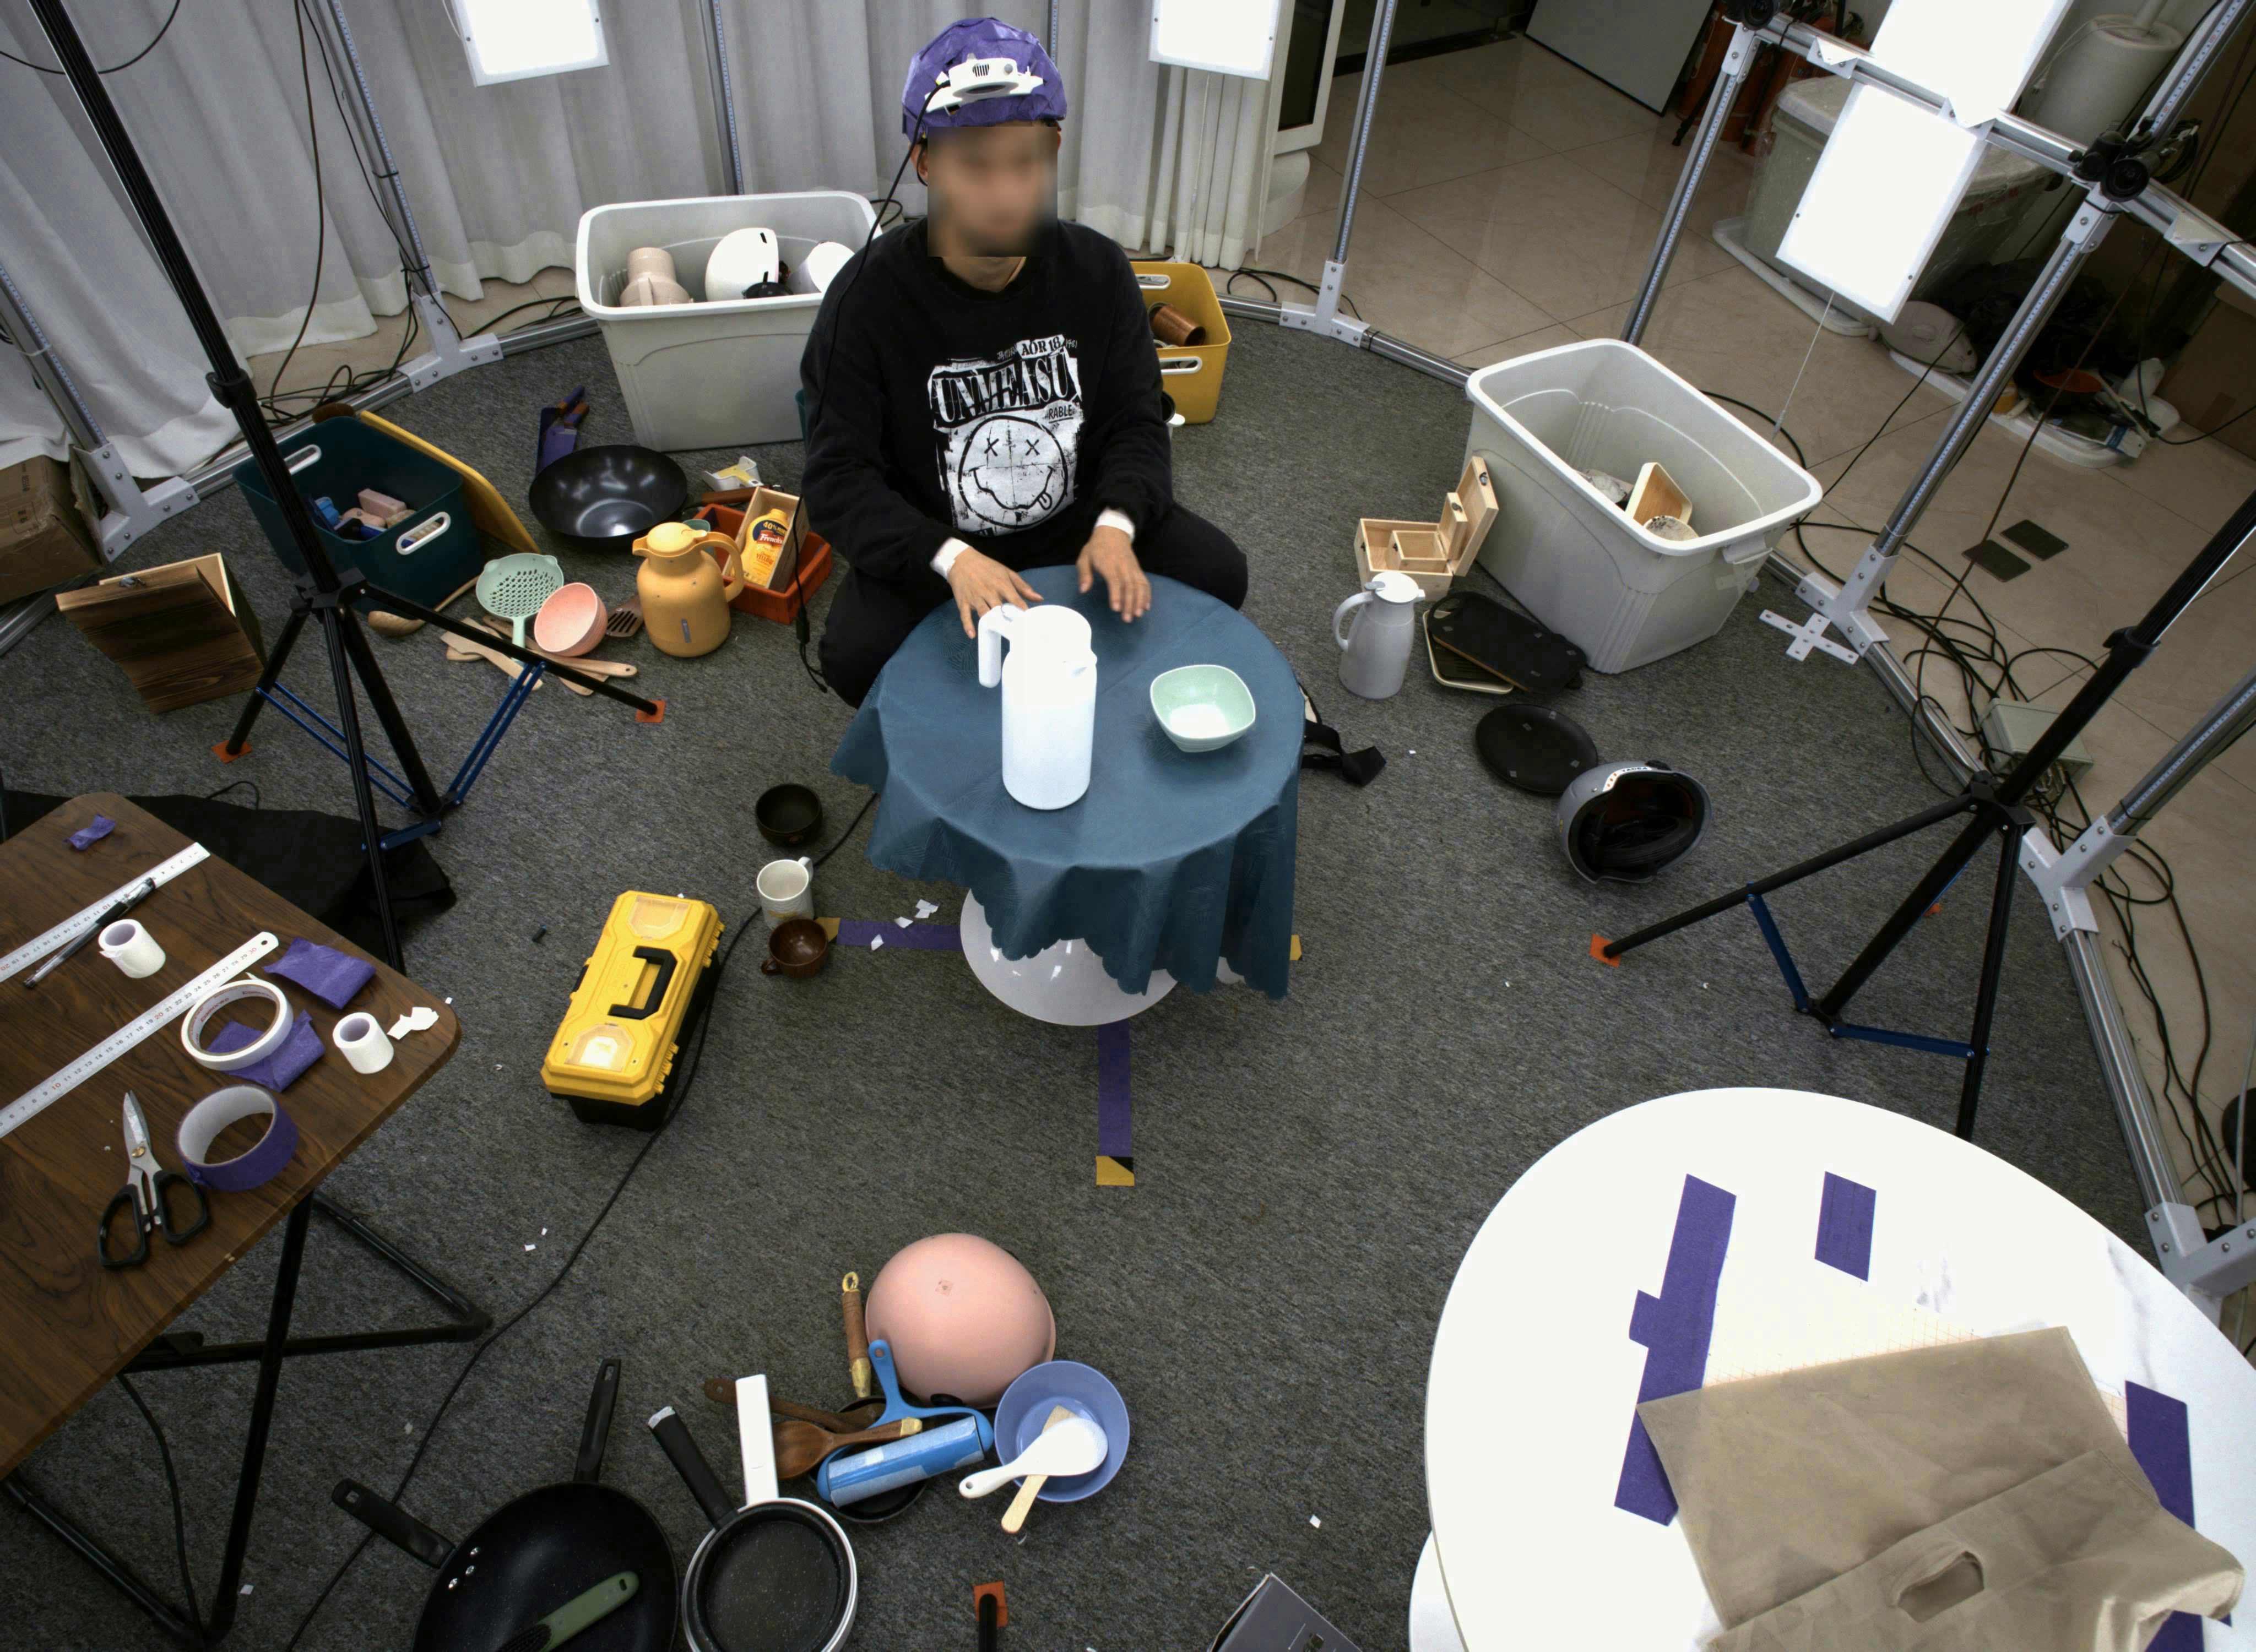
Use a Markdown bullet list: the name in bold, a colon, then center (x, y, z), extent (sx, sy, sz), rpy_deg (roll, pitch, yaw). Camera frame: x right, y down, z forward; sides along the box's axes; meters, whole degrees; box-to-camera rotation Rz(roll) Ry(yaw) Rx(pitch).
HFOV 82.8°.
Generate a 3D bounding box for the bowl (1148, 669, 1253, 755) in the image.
- **bowl**: center (0.098, -0.150, 1.775), extent (0.151, 0.057, 0.155), rpy_deg (1, 47, -1)

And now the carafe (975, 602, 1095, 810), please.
- **carafe**: center (-0.118, -0.153, 1.623), extent (0.174, 0.262, 0.125), rpy_deg (30, 56, 20)
